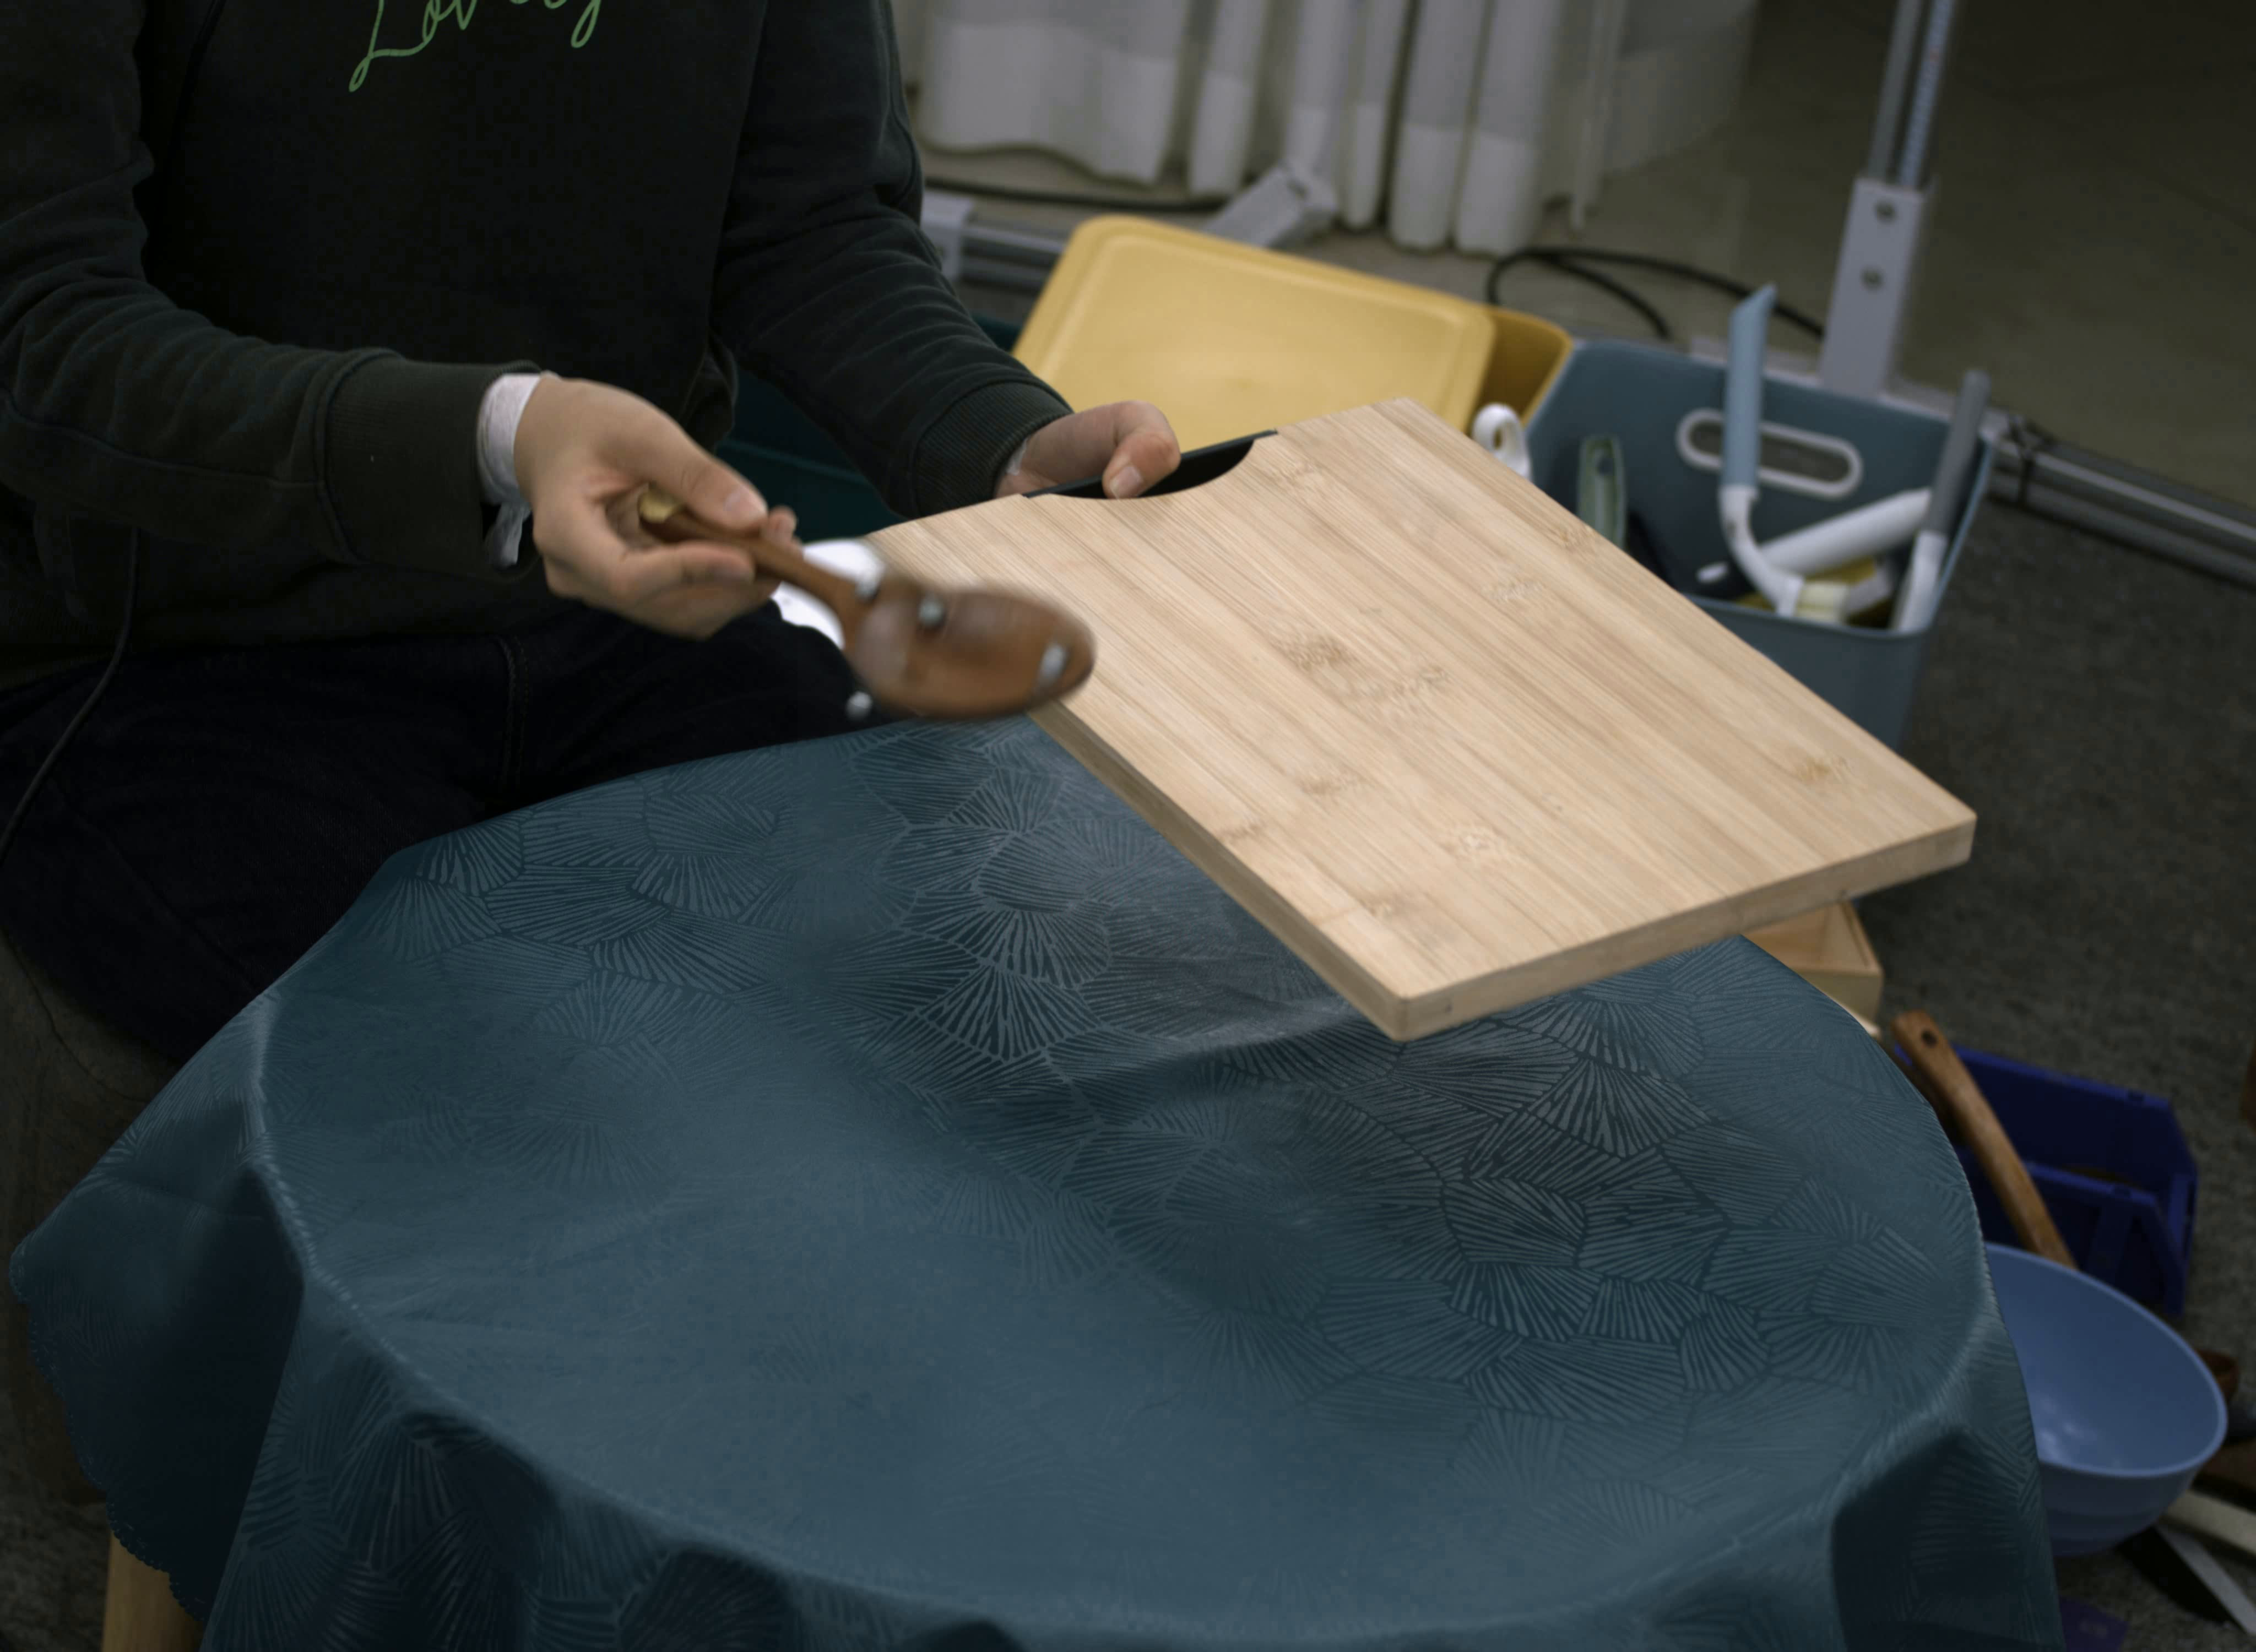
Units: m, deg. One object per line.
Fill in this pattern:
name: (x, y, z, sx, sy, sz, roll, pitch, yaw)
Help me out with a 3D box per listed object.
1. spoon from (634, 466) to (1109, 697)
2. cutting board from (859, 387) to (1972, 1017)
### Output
spoon: (-0.090, -0.083, 1.757, 0.075, 0.017, 0.217, -31, 39, -32)
cutting board: (0.093, -0.052, 1.866, 0.249, 0.023, 0.352, -16, 36, -29)
